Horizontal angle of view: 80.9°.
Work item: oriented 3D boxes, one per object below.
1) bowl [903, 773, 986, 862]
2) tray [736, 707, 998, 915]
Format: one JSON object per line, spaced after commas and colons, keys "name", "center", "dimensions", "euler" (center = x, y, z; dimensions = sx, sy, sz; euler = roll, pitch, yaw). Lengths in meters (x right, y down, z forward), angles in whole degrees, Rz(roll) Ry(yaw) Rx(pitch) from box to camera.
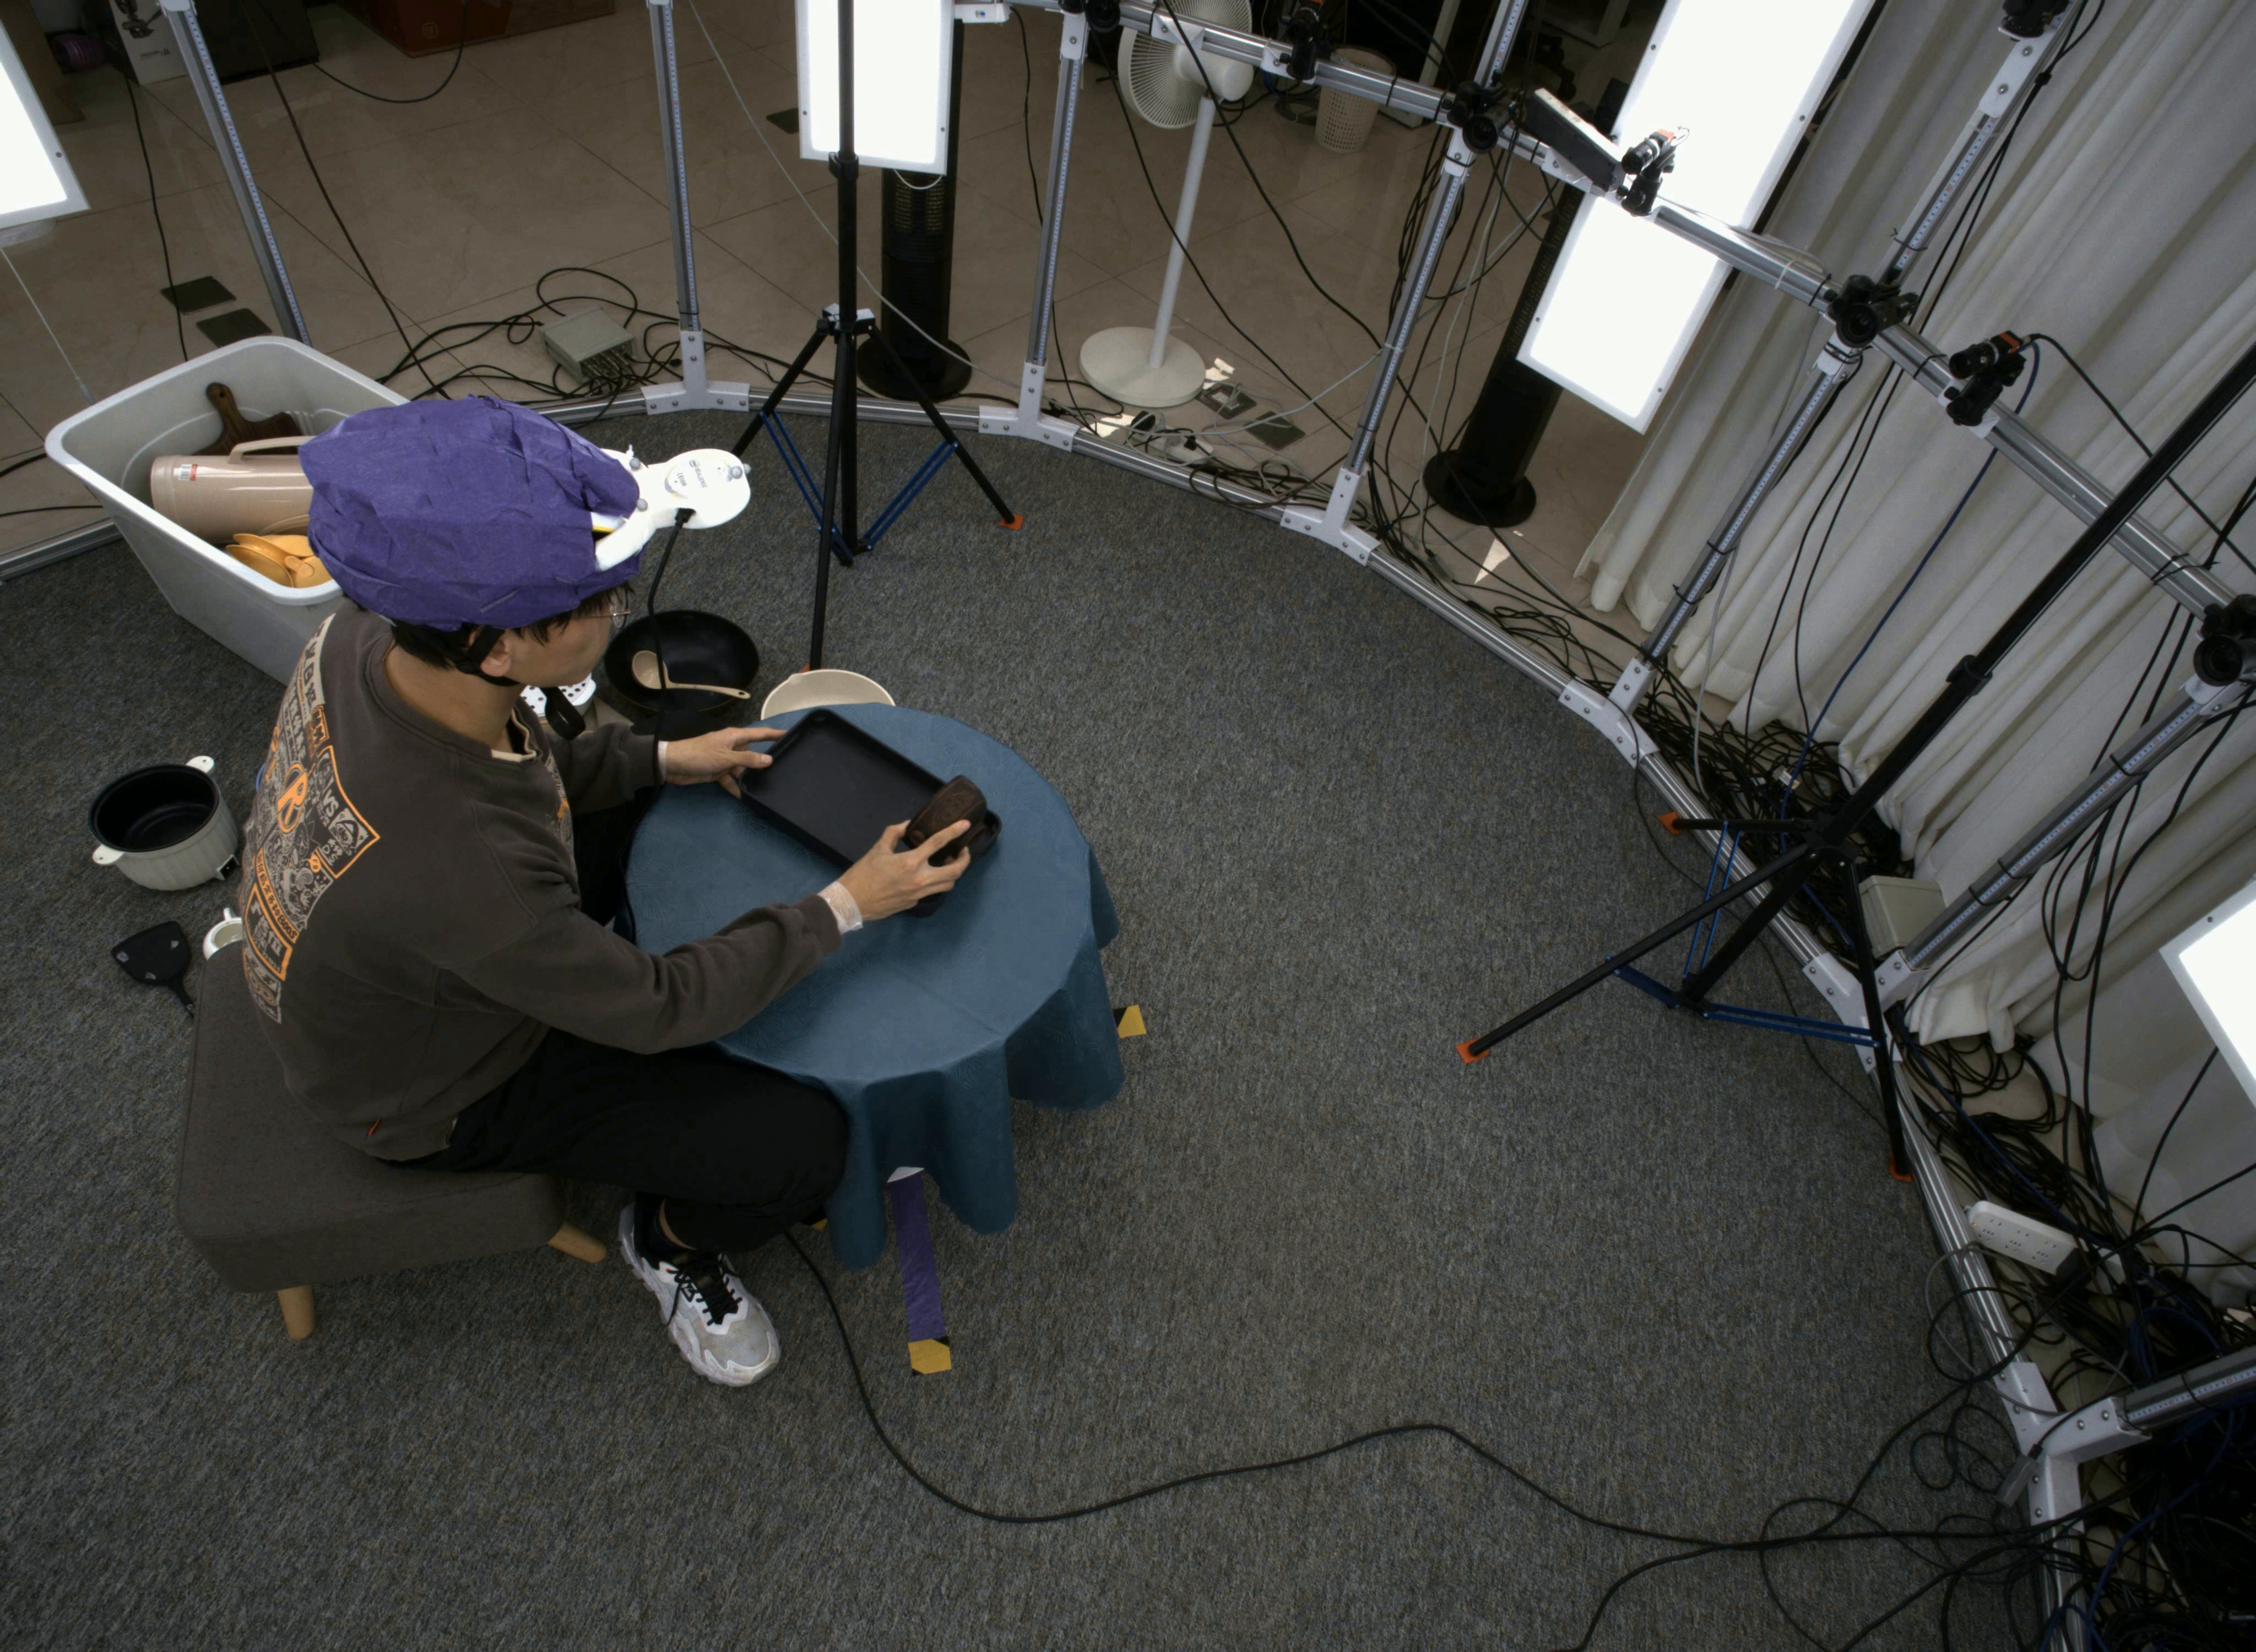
{"name": "bowl", "center": [-0.226, -0.003, 1.674], "dimensions": [0.069, 0.118, 0.118], "euler": [40, 54, 3]}
{"name": "tray", "center": [-0.347, -0.024, 1.741], "dimensions": [0.314, 0.037, 0.183], "euler": [31, 54, 5]}
